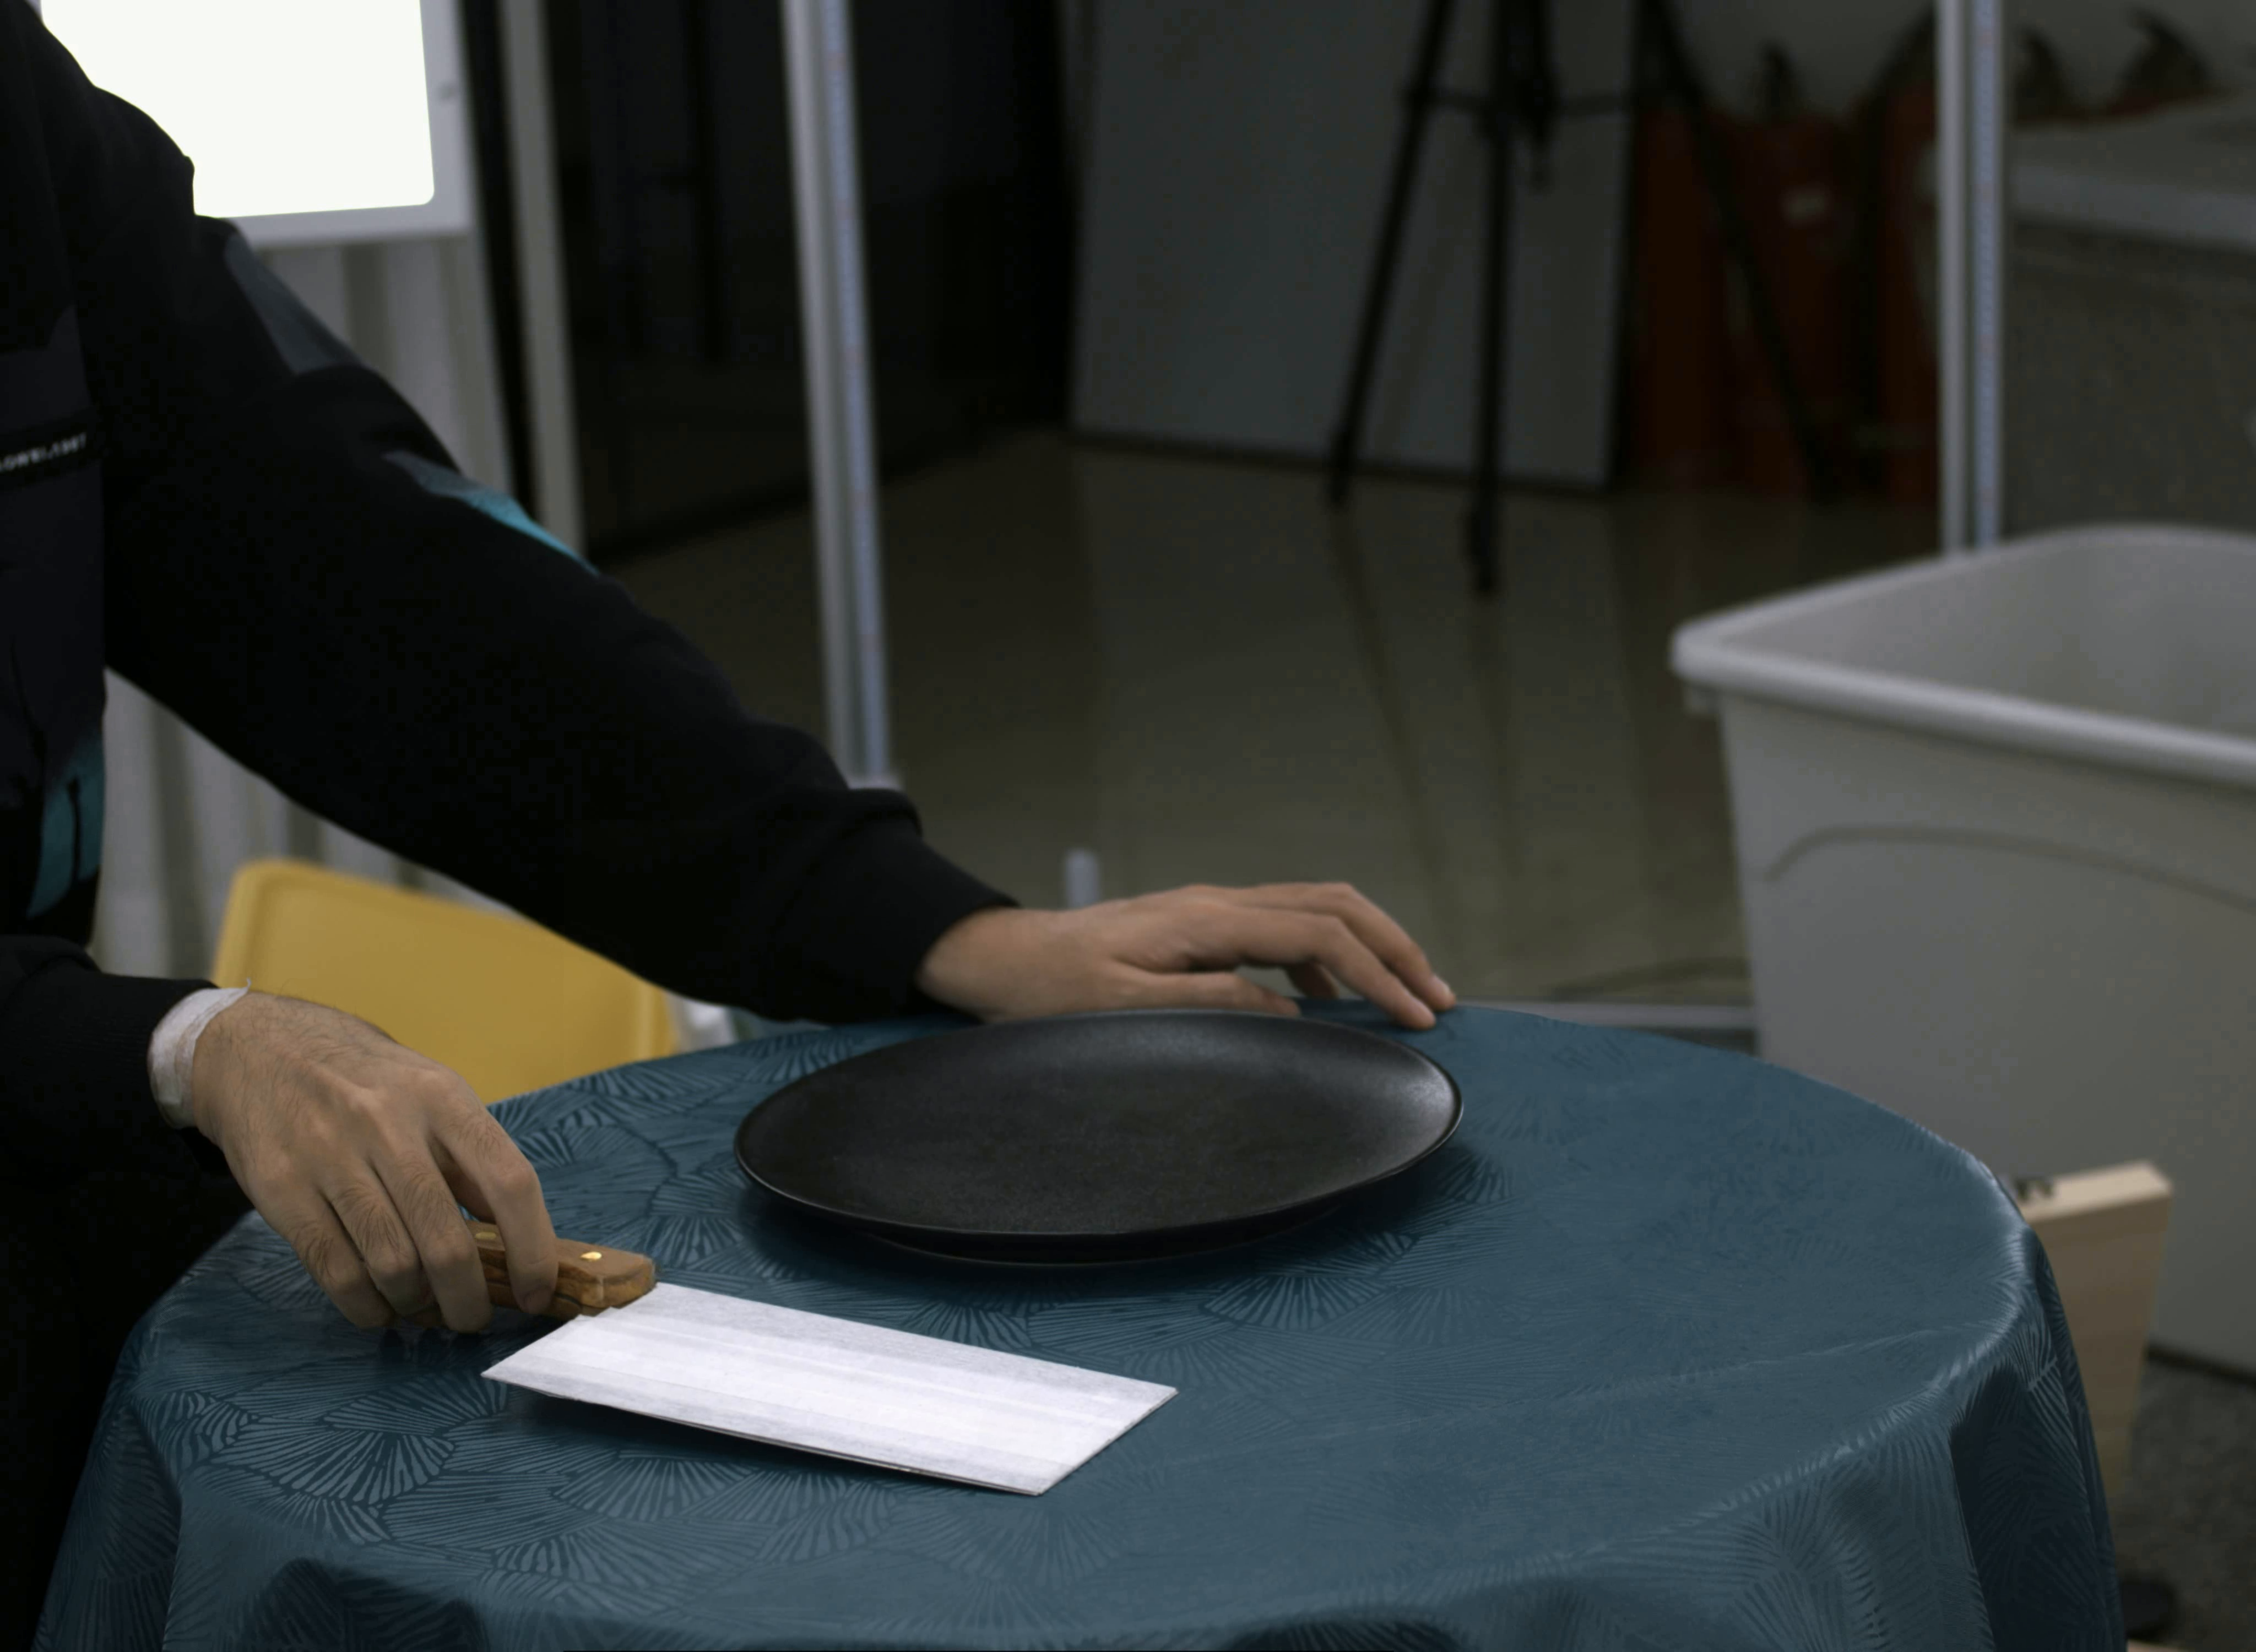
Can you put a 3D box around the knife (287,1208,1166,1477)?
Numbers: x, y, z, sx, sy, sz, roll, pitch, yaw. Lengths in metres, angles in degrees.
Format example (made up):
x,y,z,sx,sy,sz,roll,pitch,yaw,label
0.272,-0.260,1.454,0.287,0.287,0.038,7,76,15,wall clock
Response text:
x,y,z,sx,sy,sz,roll,pitch,yaw,label
-0.137,0.157,1.617,0.307,0.021,0.091,8,18,28,knife

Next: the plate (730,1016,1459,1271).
x,y,z,sx,sy,sz,roll,pitch,yaw,label
-0.010,0.107,1.782,0.241,0.024,0.245,-4,14,0,plate
